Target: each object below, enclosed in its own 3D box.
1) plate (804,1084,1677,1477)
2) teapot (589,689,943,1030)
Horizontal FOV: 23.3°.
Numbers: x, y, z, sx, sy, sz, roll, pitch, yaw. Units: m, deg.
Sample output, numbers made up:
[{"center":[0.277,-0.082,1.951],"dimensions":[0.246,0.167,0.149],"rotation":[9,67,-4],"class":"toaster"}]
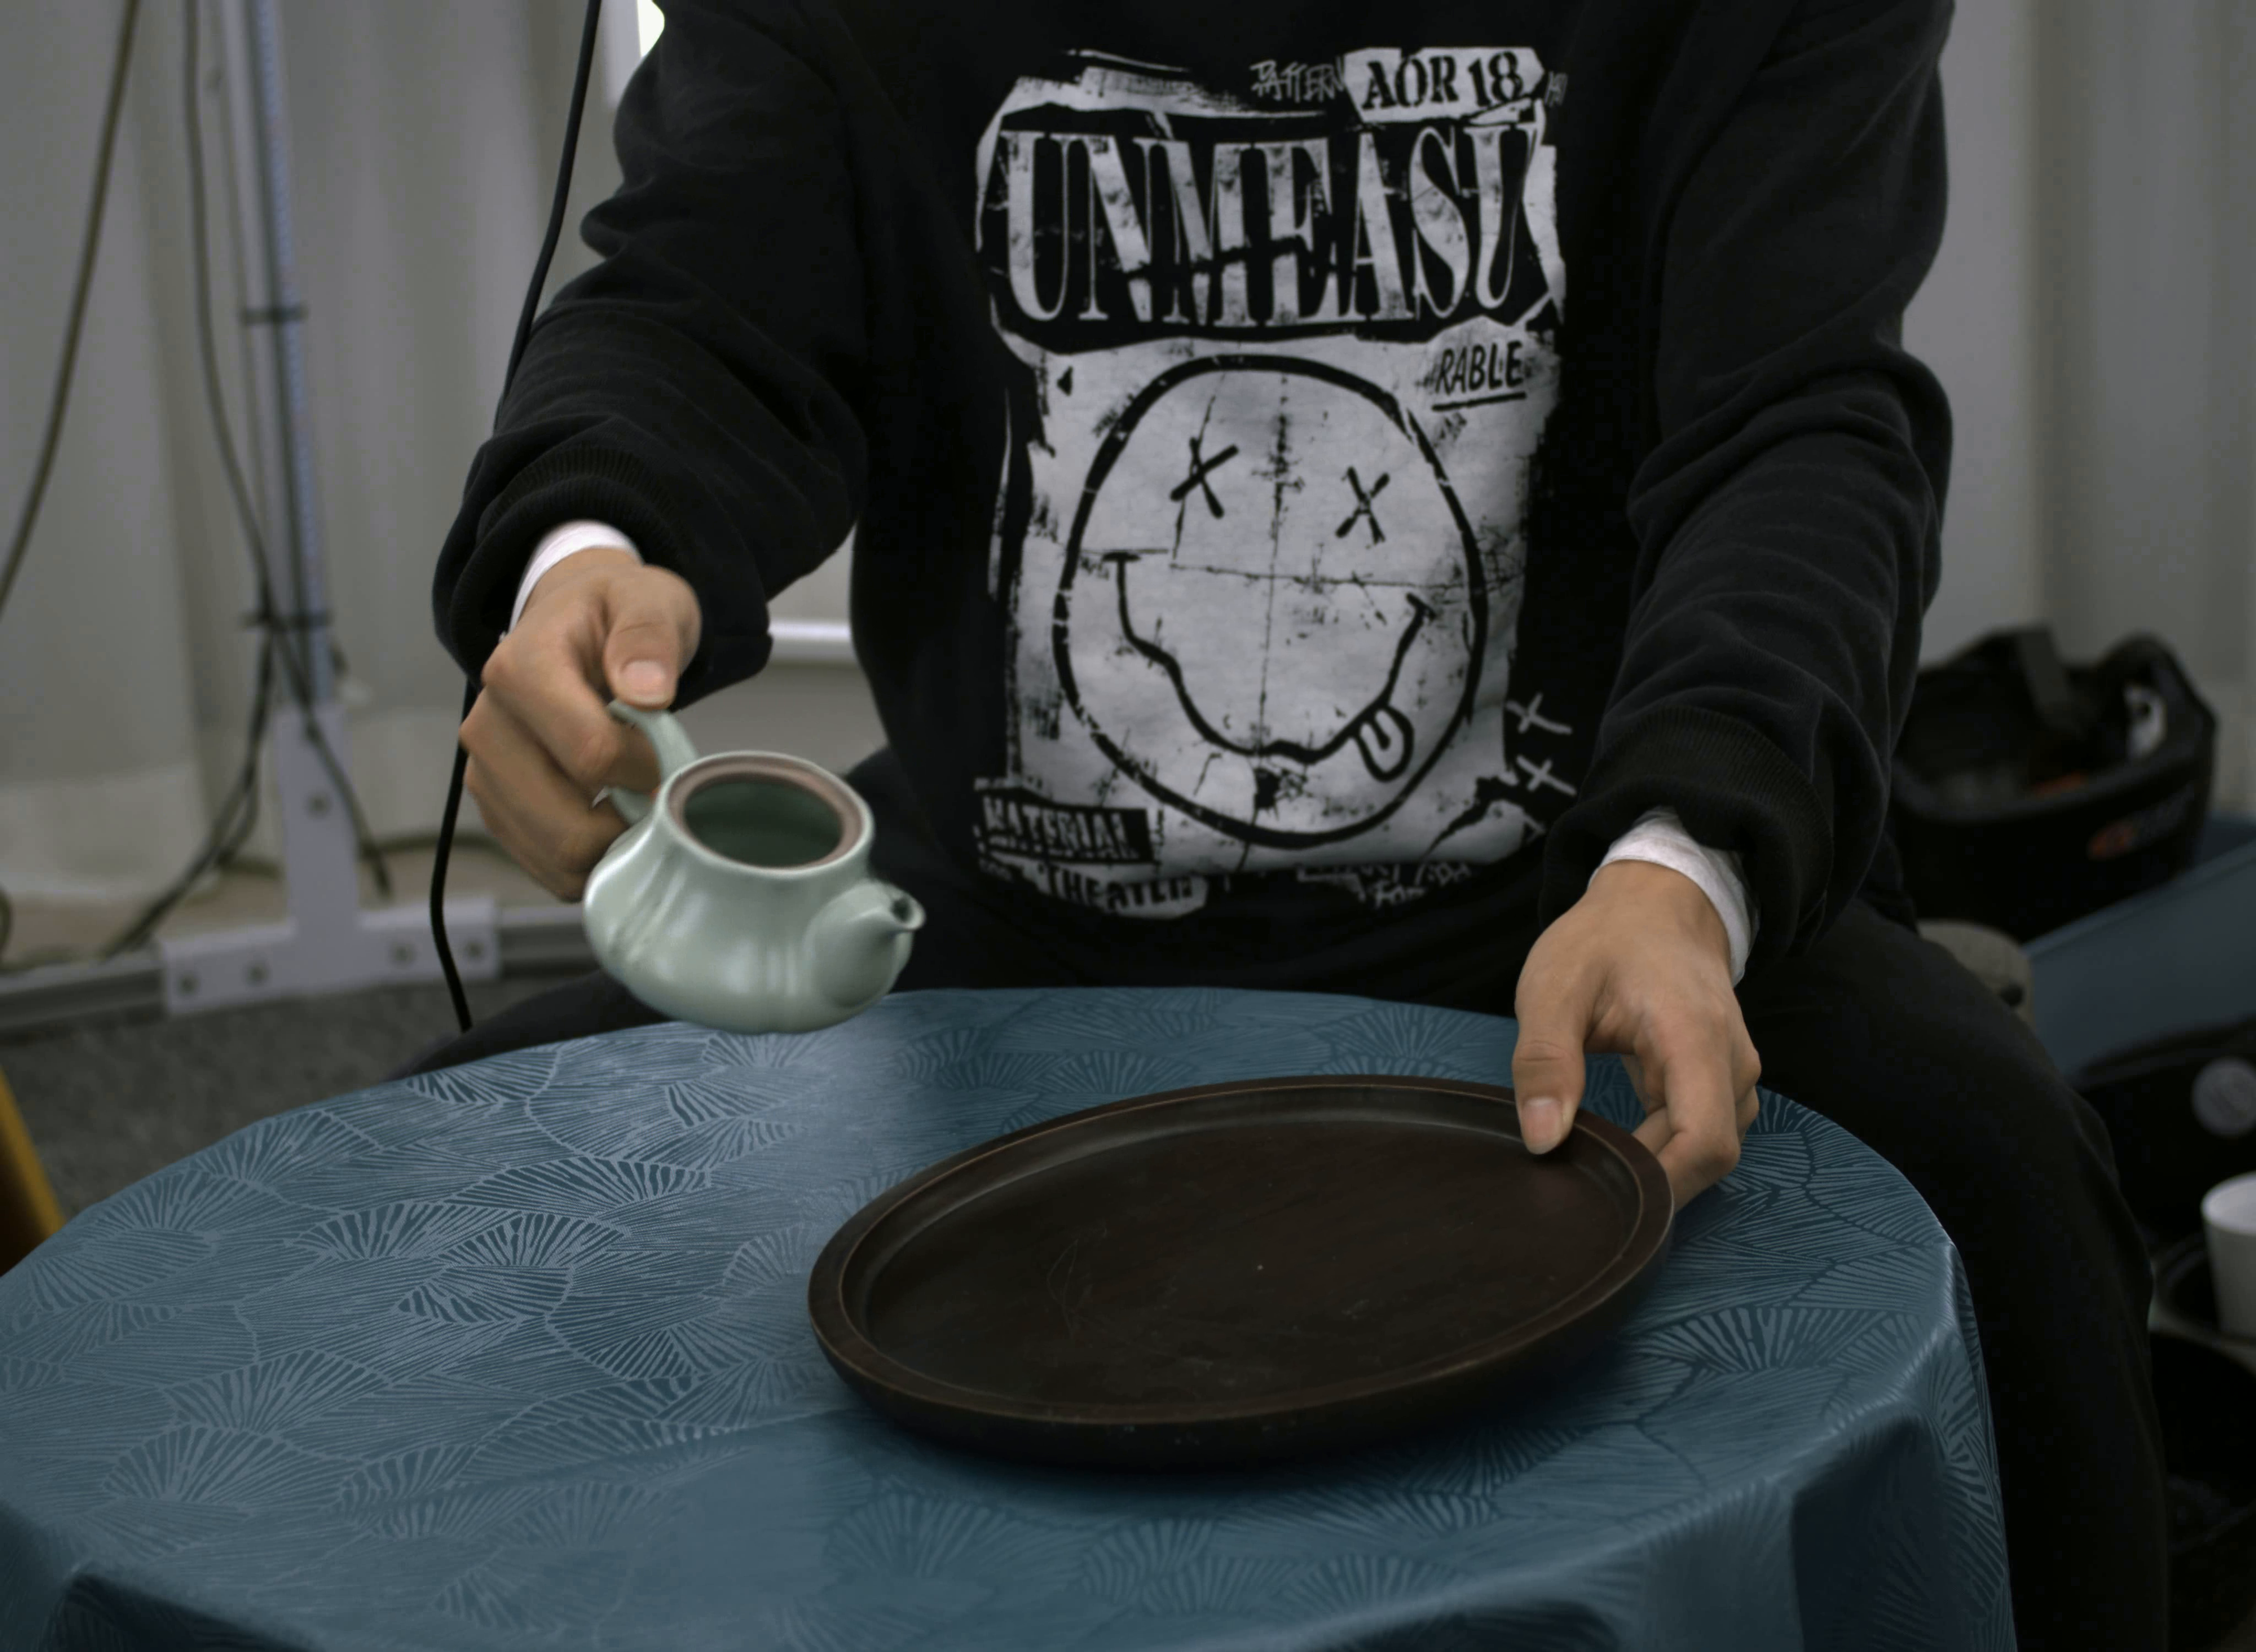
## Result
[{"center":[0.033,0.128,1.575],"dimensions":[0.254,0.029,0.257],"rotation":[-8,18,2],"class":"plate"},{"center":[-0.110,0.013,1.594],"dimensions":[0.138,0.061,0.096],"rotation":[35,41,29],"class":"teapot"}]
